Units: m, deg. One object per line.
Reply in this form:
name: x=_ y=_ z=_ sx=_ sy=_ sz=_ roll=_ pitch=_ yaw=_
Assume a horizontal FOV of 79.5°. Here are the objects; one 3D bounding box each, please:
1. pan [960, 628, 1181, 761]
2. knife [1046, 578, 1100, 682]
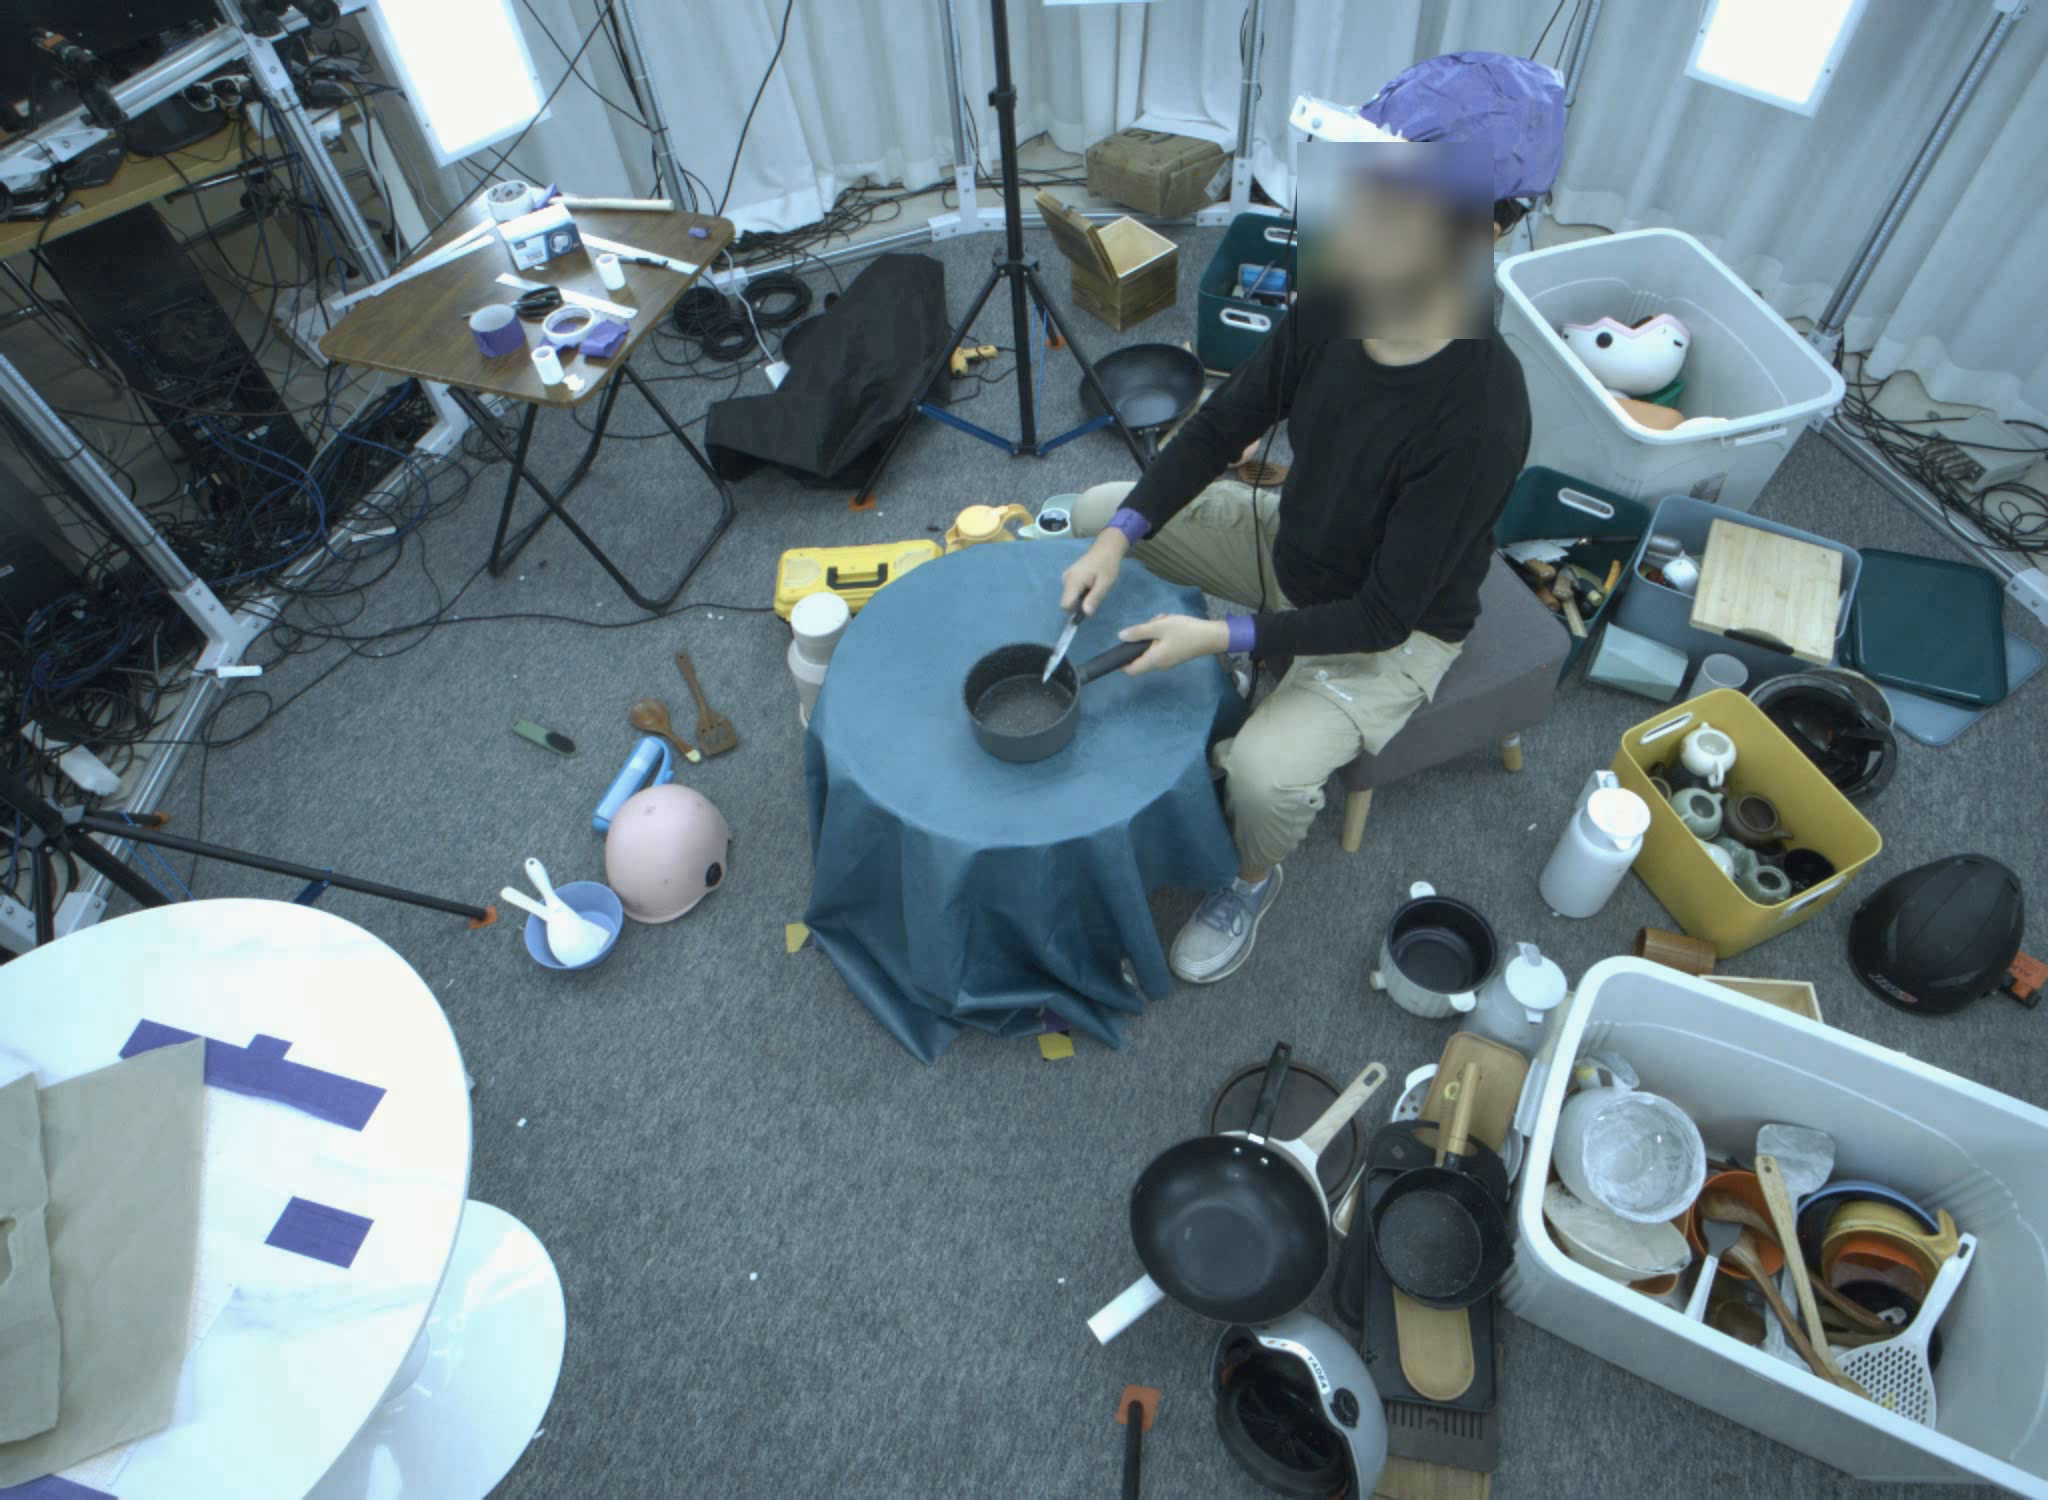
pan: x=0.072 y=-0.096 z=1.789 sx=0.330 sy=0.087 sz=0.169 roll=-18 pitch=57 yaw=-7
knife: x=0.068 y=-0.177 z=1.804 sx=0.024 sy=0.016 sz=0.238 roll=-6 pitch=41 yaw=31
